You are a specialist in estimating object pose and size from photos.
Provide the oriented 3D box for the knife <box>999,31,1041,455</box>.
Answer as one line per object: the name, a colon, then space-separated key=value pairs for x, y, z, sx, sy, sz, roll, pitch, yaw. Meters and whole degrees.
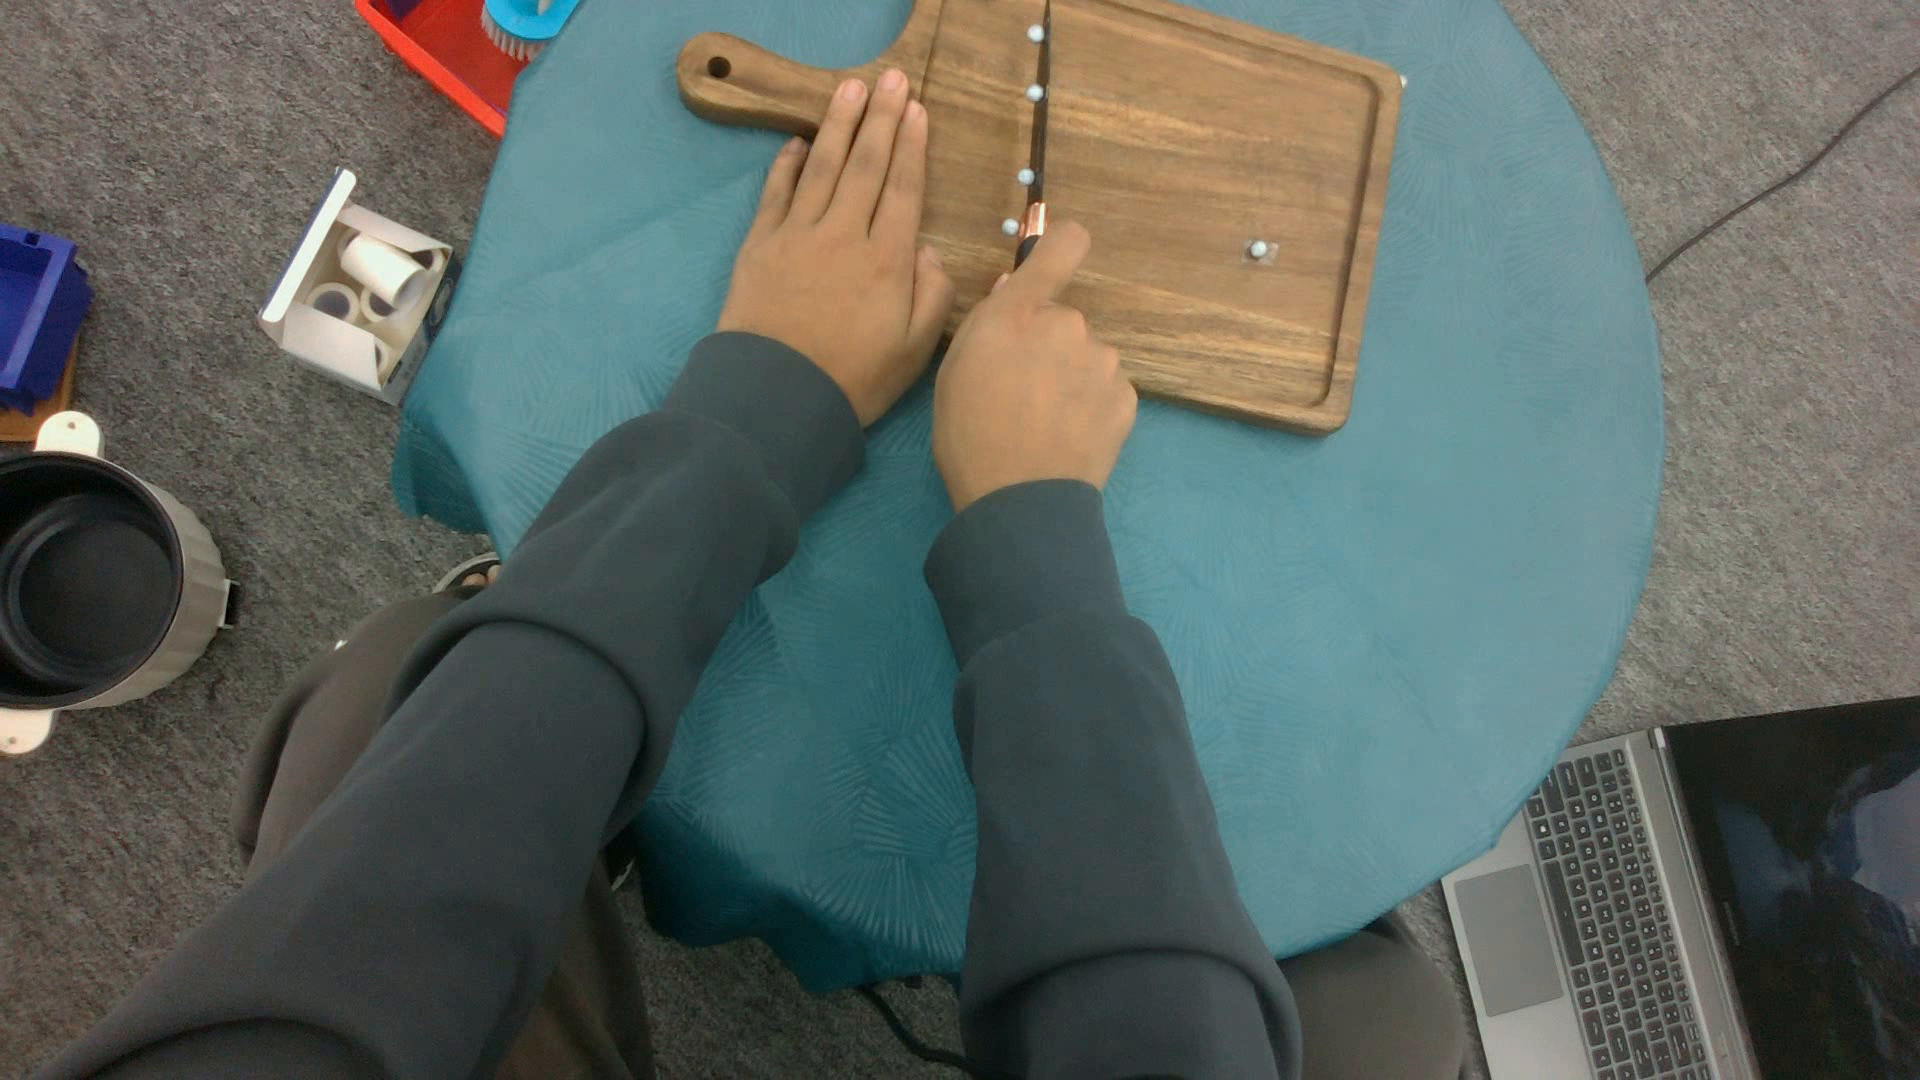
knife: x=0.027 y=-0.147 z=0.656 sx=0.017 sy=0.026 sz=0.226 roll=3 pitch=75 yaw=-15

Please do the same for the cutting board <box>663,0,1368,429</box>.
cutting board: x=0.030 y=-0.178 z=0.686 sx=0.352 sy=0.023 sz=0.201 roll=10 pitch=78 yaw=-6
